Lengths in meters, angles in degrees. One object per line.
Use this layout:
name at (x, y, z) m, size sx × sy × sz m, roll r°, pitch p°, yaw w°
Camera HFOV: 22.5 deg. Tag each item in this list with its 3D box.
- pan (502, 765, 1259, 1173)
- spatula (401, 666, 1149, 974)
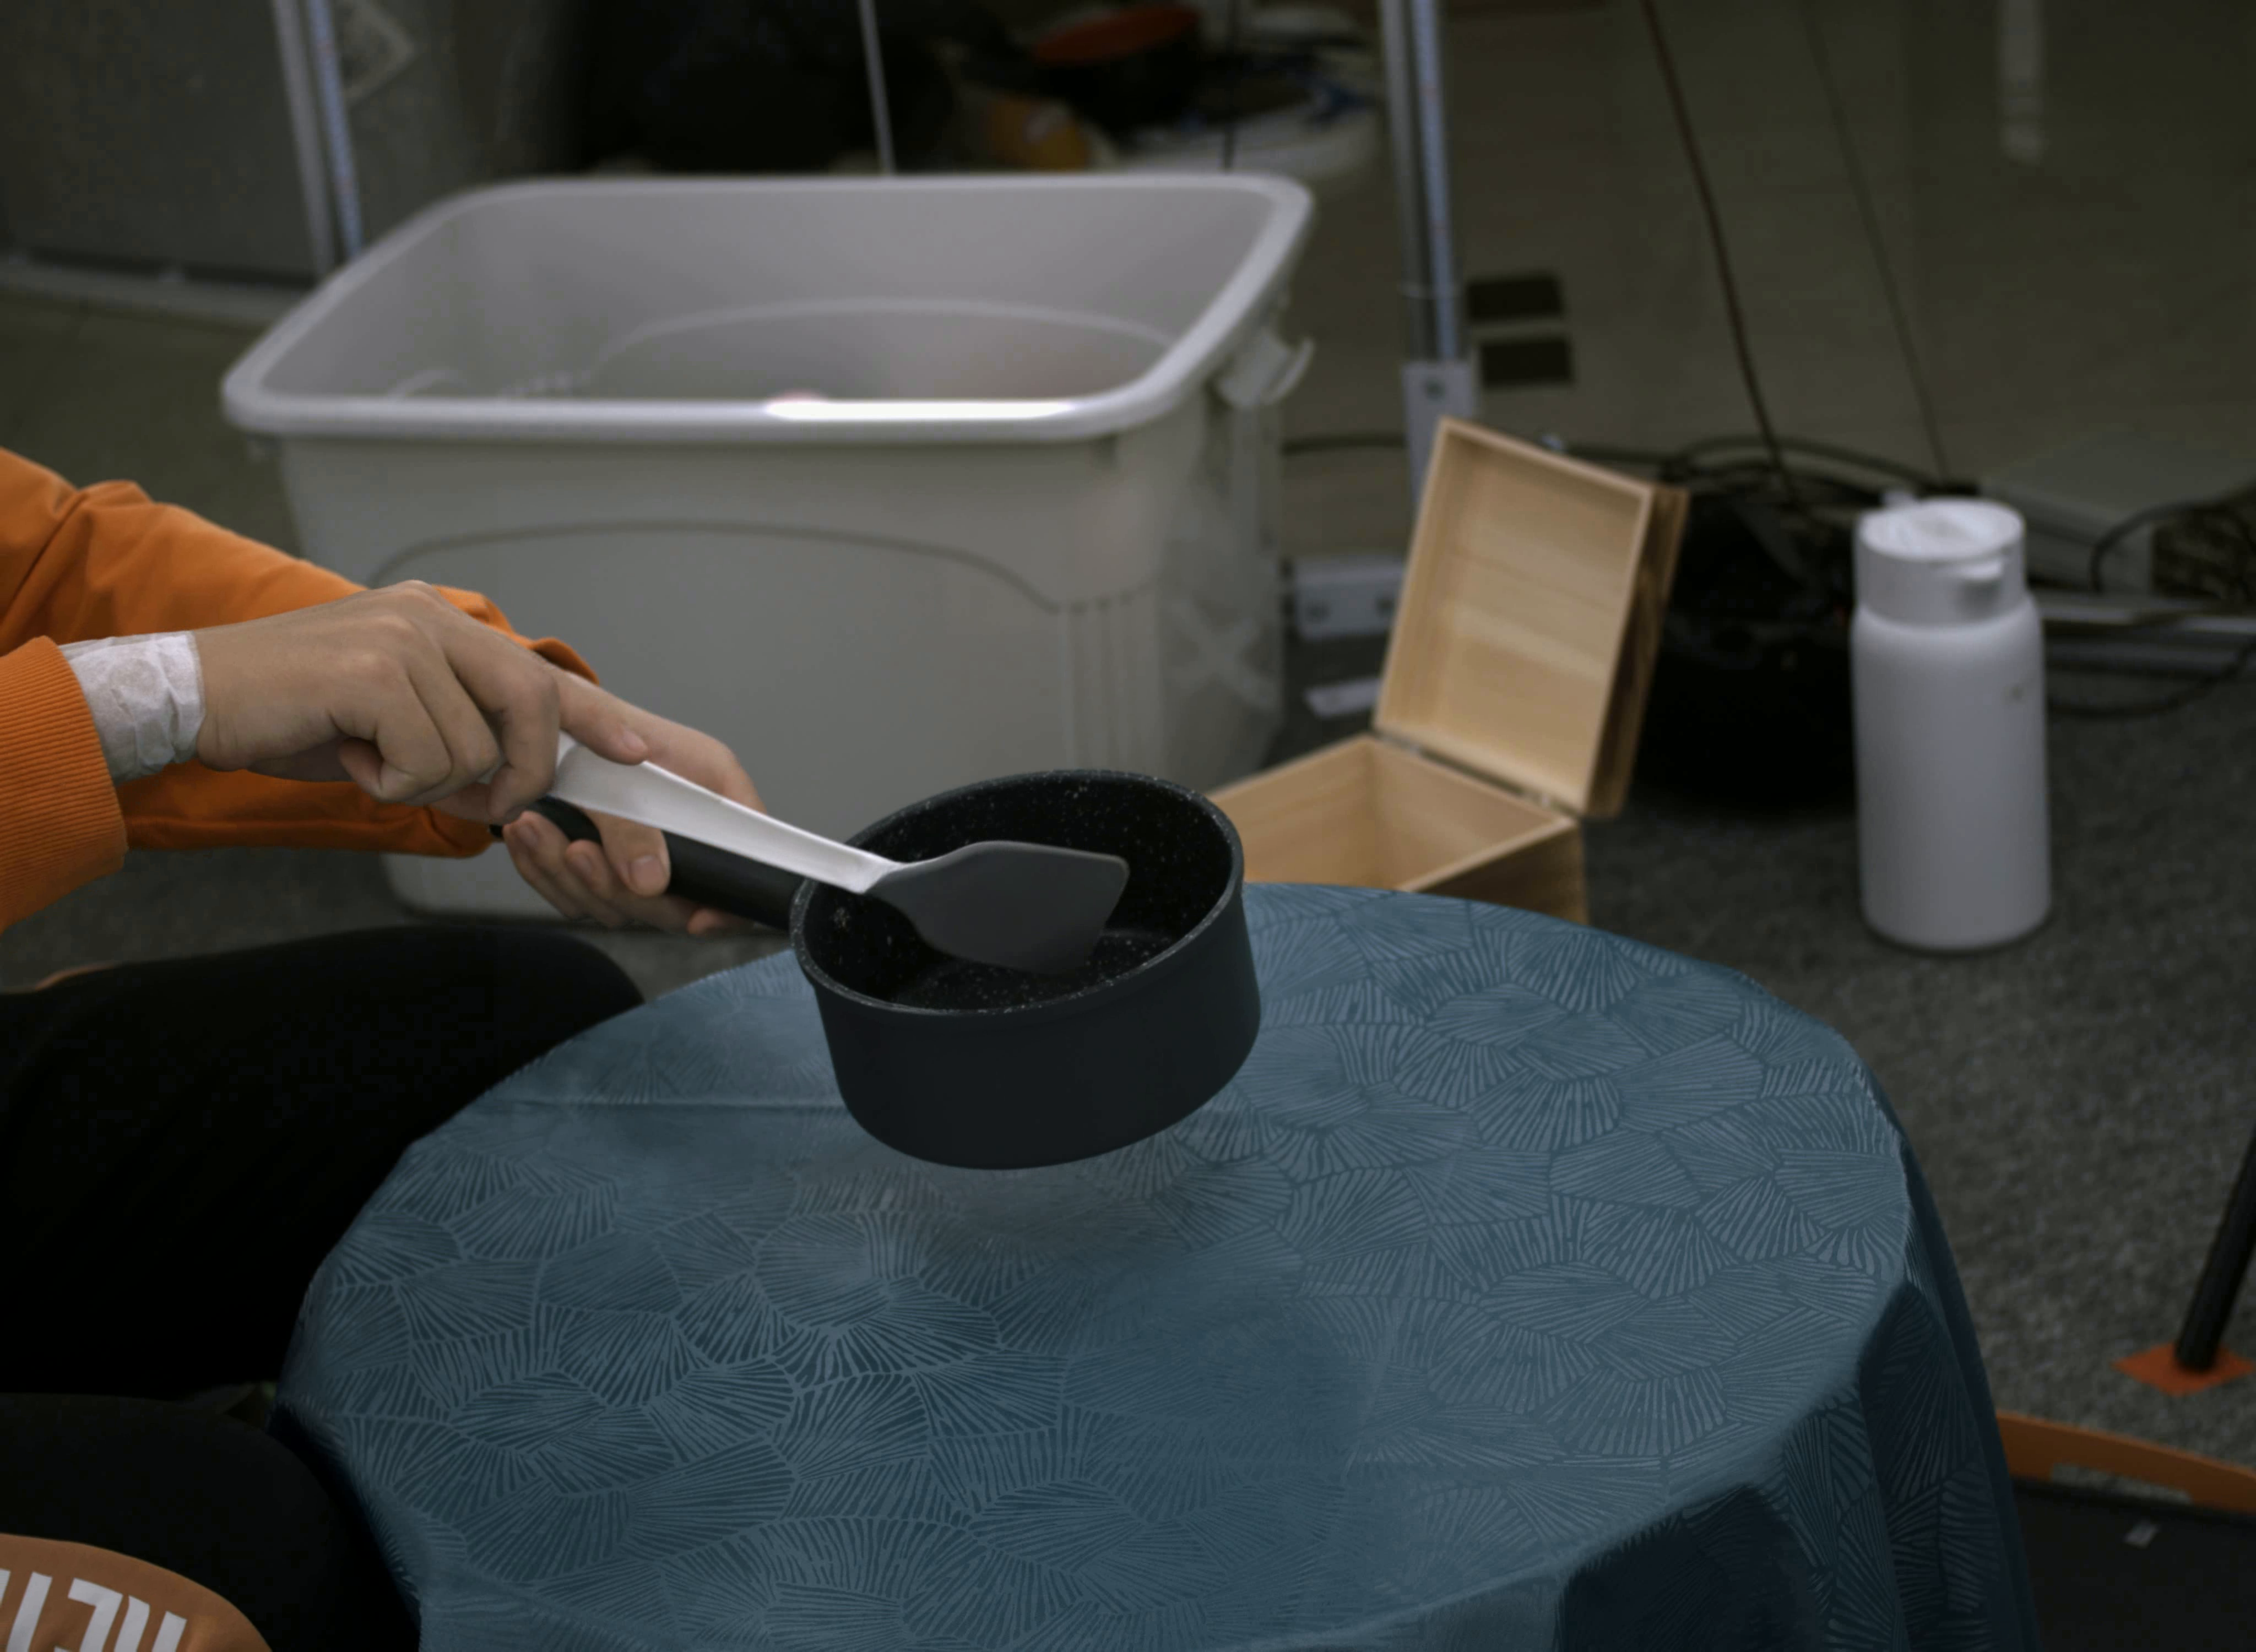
pan at (-0.102, 0.039, 2.162) m, size 0.327 × 0.088 × 0.170 m, roll 13°, pitch 37°, yaw 32°
spatula at (-0.122, -0.001, 2.020) m, size 0.289 × 0.059 × 0.032 m, roll 18°, pitch 20°, yaw -26°
